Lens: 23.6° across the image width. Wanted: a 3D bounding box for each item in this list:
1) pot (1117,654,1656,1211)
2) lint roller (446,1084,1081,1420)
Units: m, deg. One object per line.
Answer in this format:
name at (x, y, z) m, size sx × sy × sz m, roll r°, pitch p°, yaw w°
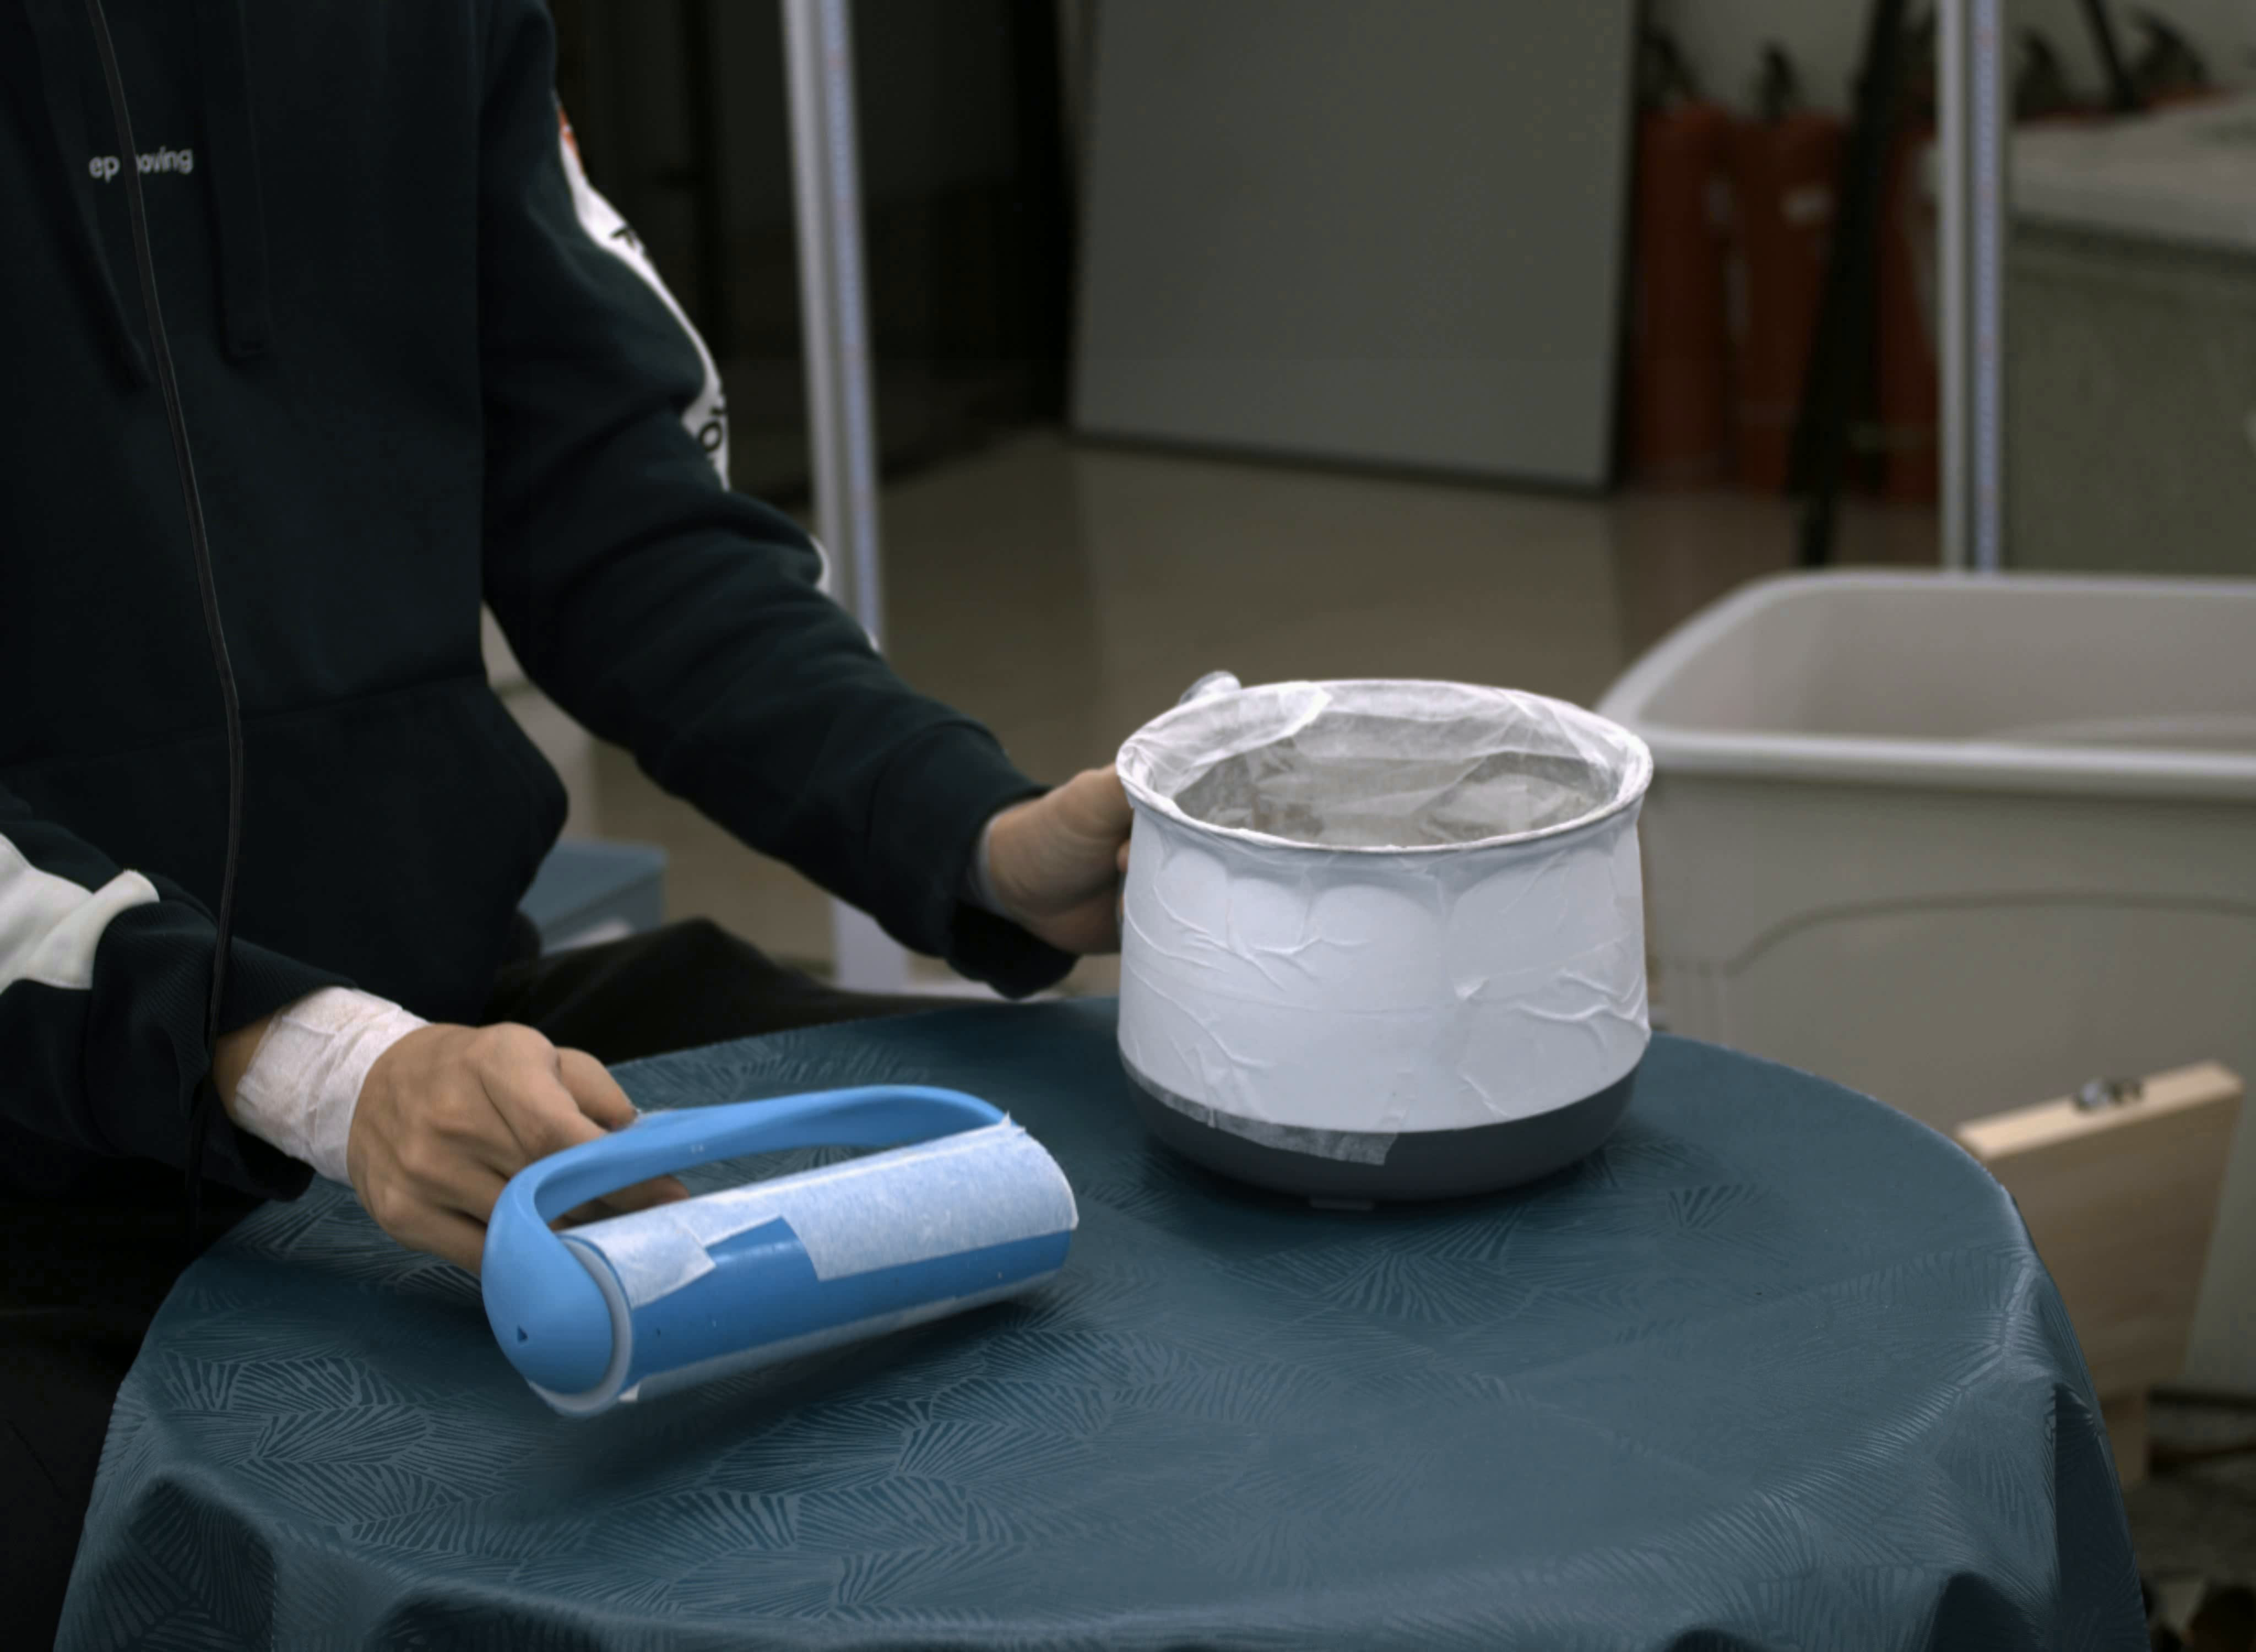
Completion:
pot at (0.069, 0.028, 1.798) m, size 0.175 × 0.138 × 0.236 m, roll -12°, pitch 23°, yaw -30°
lint roller at (-0.140, 0.119, 1.635) m, size 0.181 × 0.069 × 0.224 m, roll 10°, pitch 15°, yaw 36°
